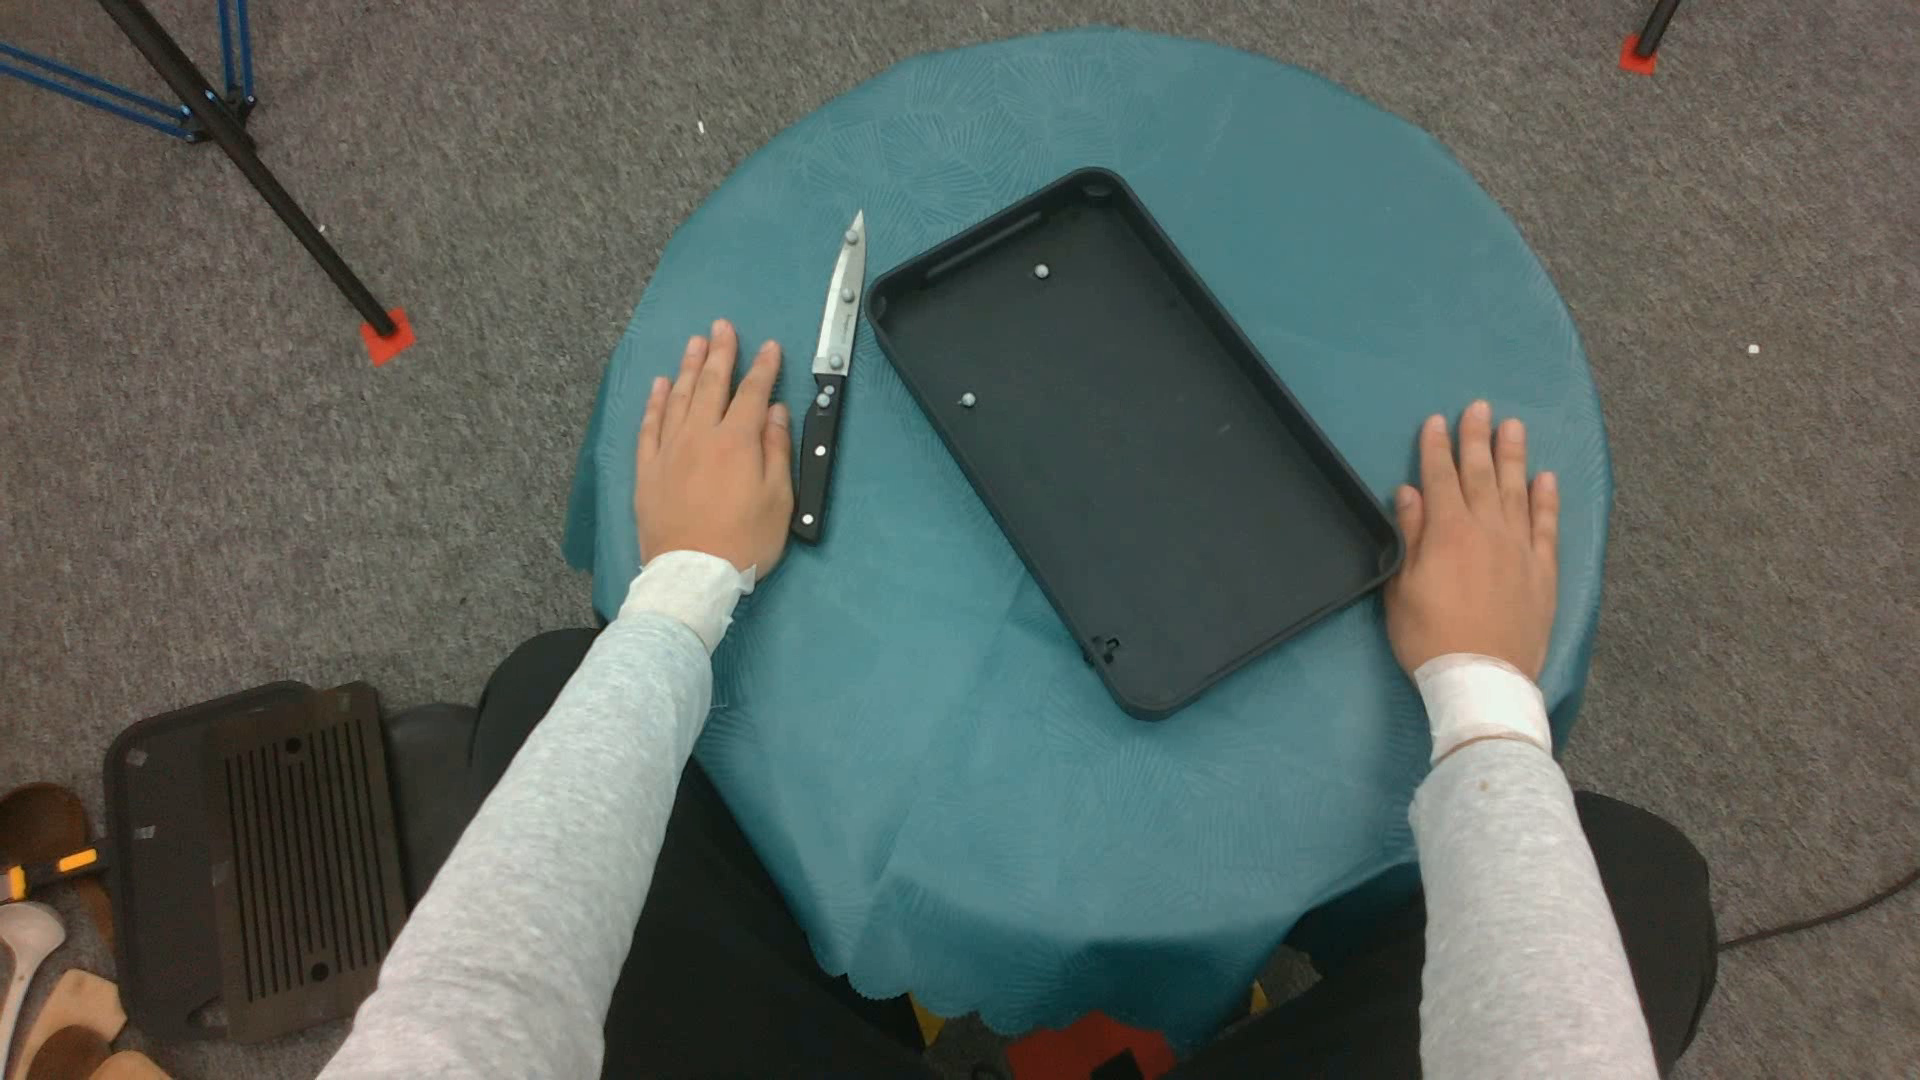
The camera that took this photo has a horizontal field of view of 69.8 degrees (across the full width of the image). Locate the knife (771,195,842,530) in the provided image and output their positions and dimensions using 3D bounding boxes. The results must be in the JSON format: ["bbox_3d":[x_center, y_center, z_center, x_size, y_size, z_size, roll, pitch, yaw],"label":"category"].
[{"bbox_3d":[-0.089,-0.115,0.840,0.024,0.016,0.239,3,65,6],"label":"knife"}]

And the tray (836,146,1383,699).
[{"bbox_3d":[0.080,-0.077,0.805,0.184,0.037,0.318,-31,71,-10],"label":"tray"}]
